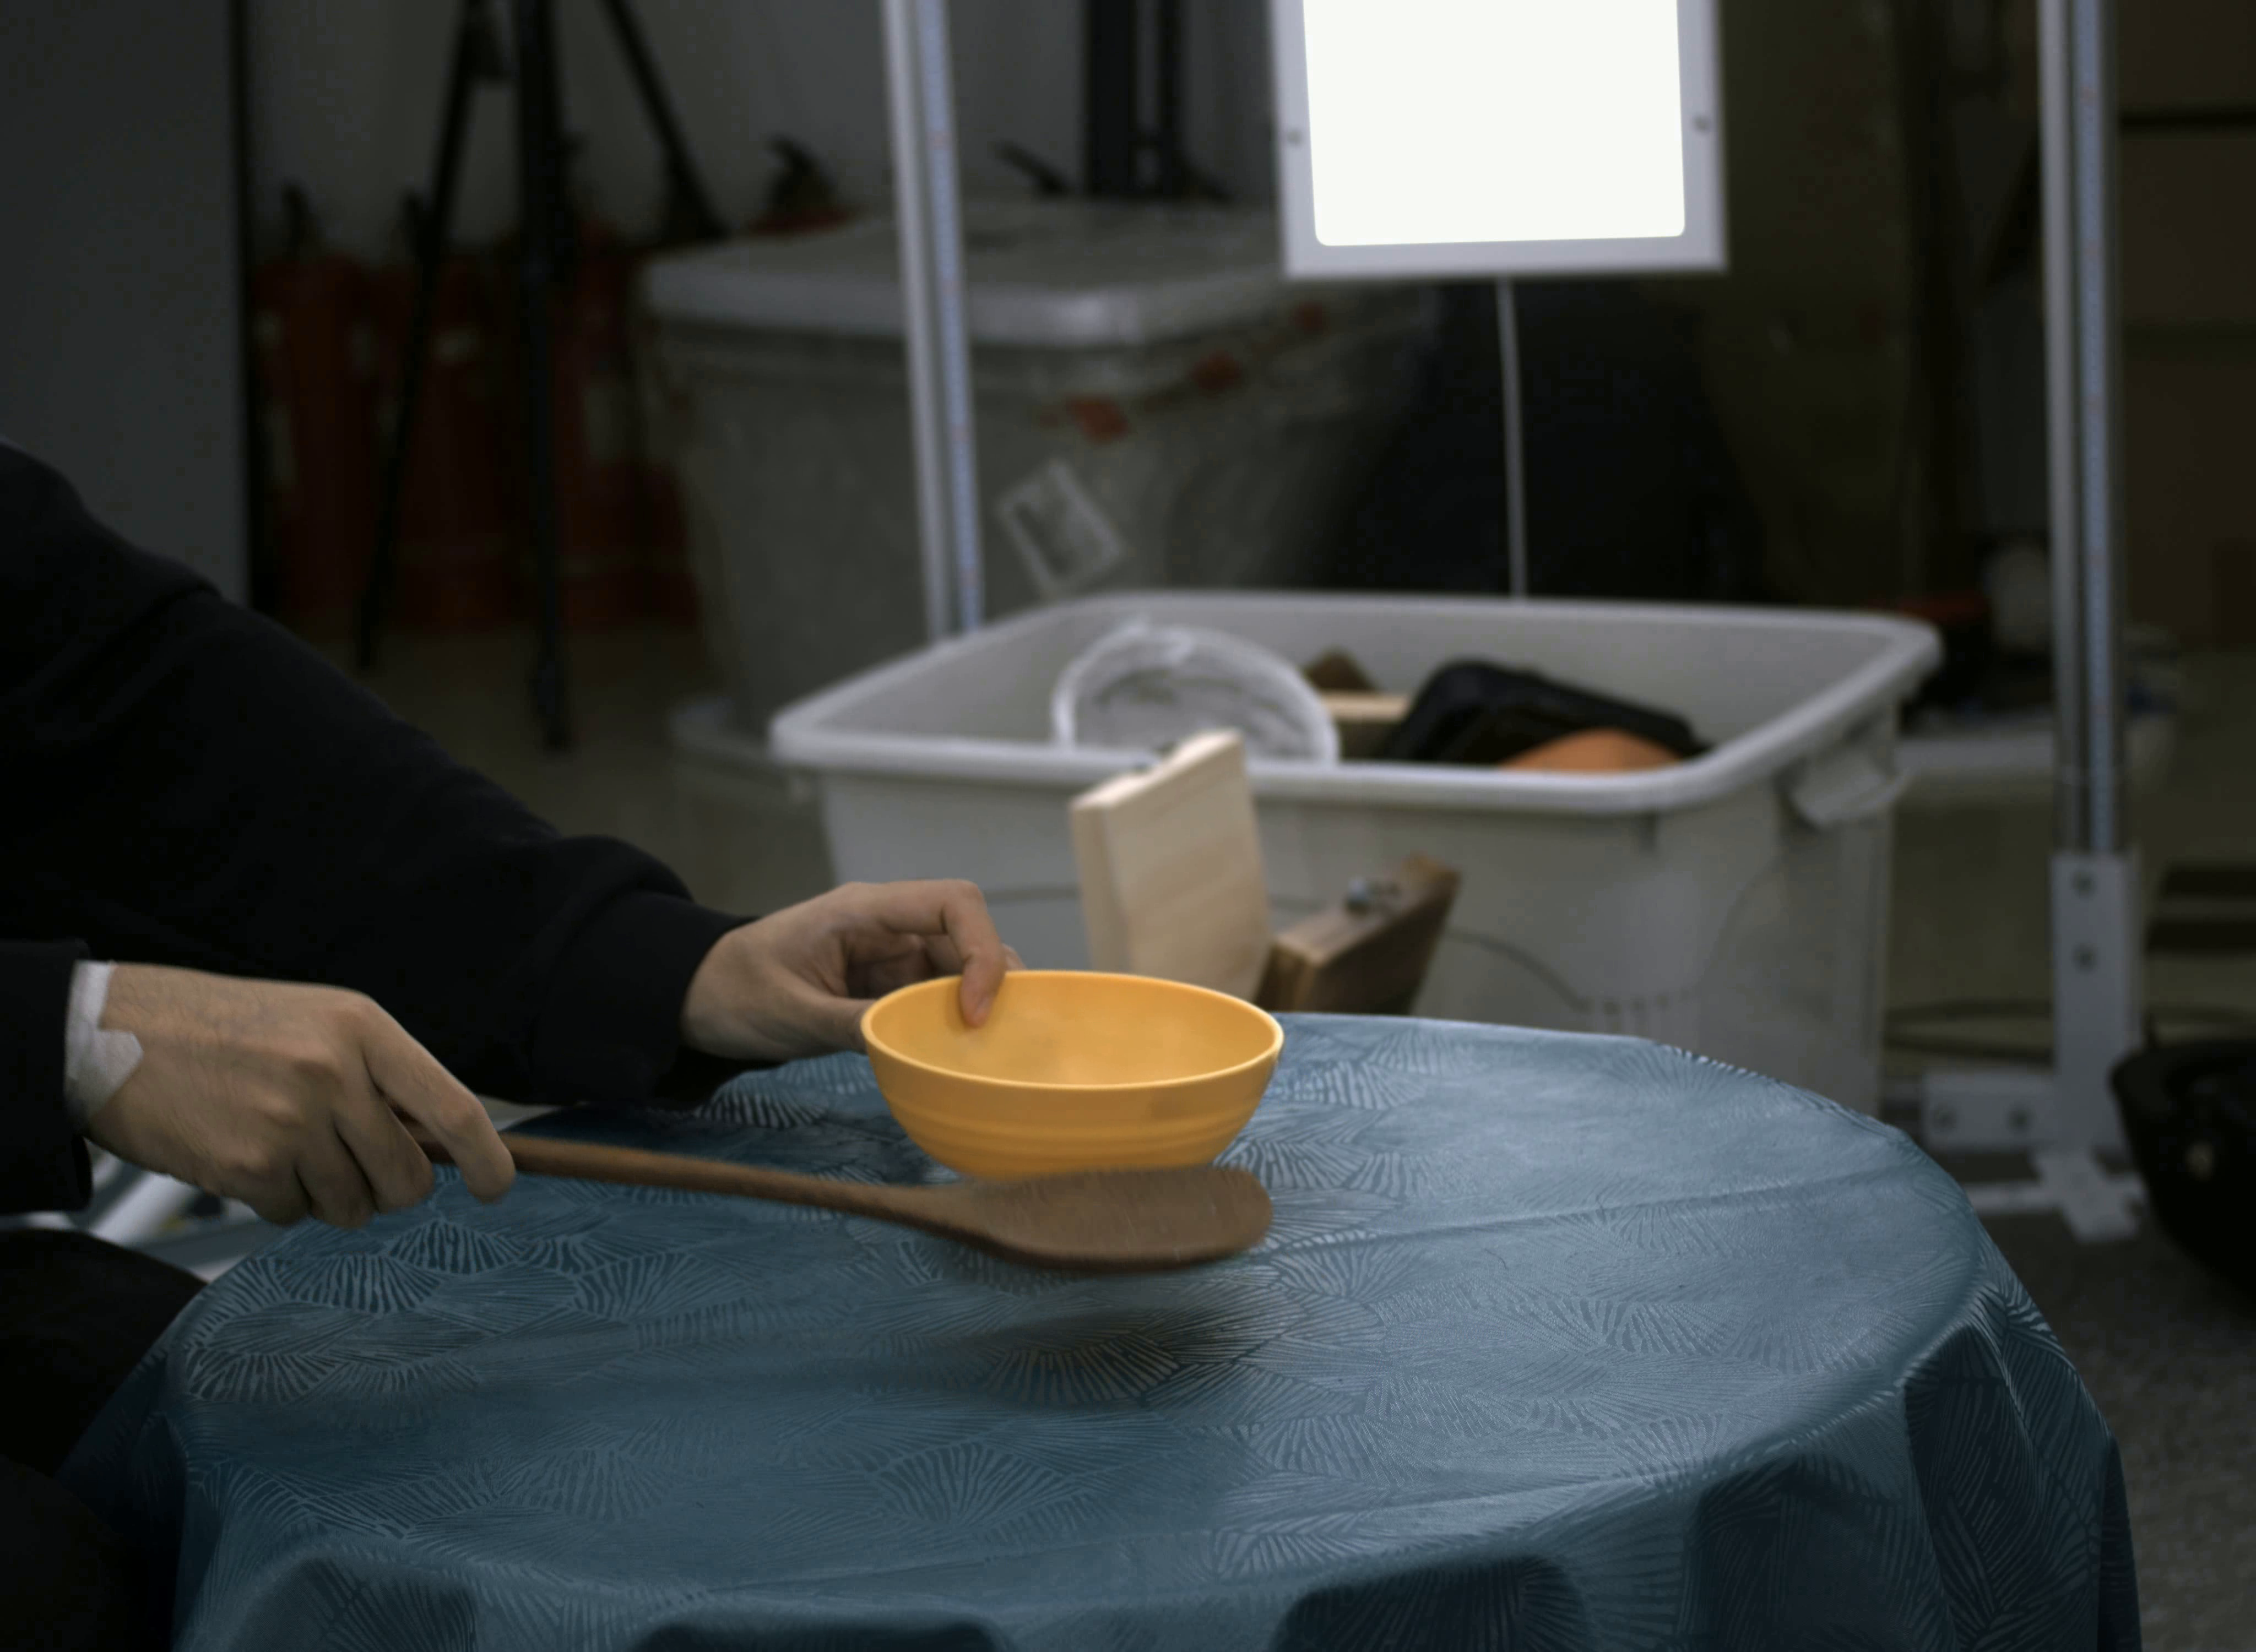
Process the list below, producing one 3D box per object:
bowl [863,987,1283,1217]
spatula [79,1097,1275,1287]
[{"bbox_3d":[-0.019,0.098,1.879,0.145,0.060,0.145,1,11,-2],"label":"bowl"},{"bbox_3d":[-0.145,0.112,1.749,0.387,0.016,0.095,6,15,7],"label":"spatula"}]
